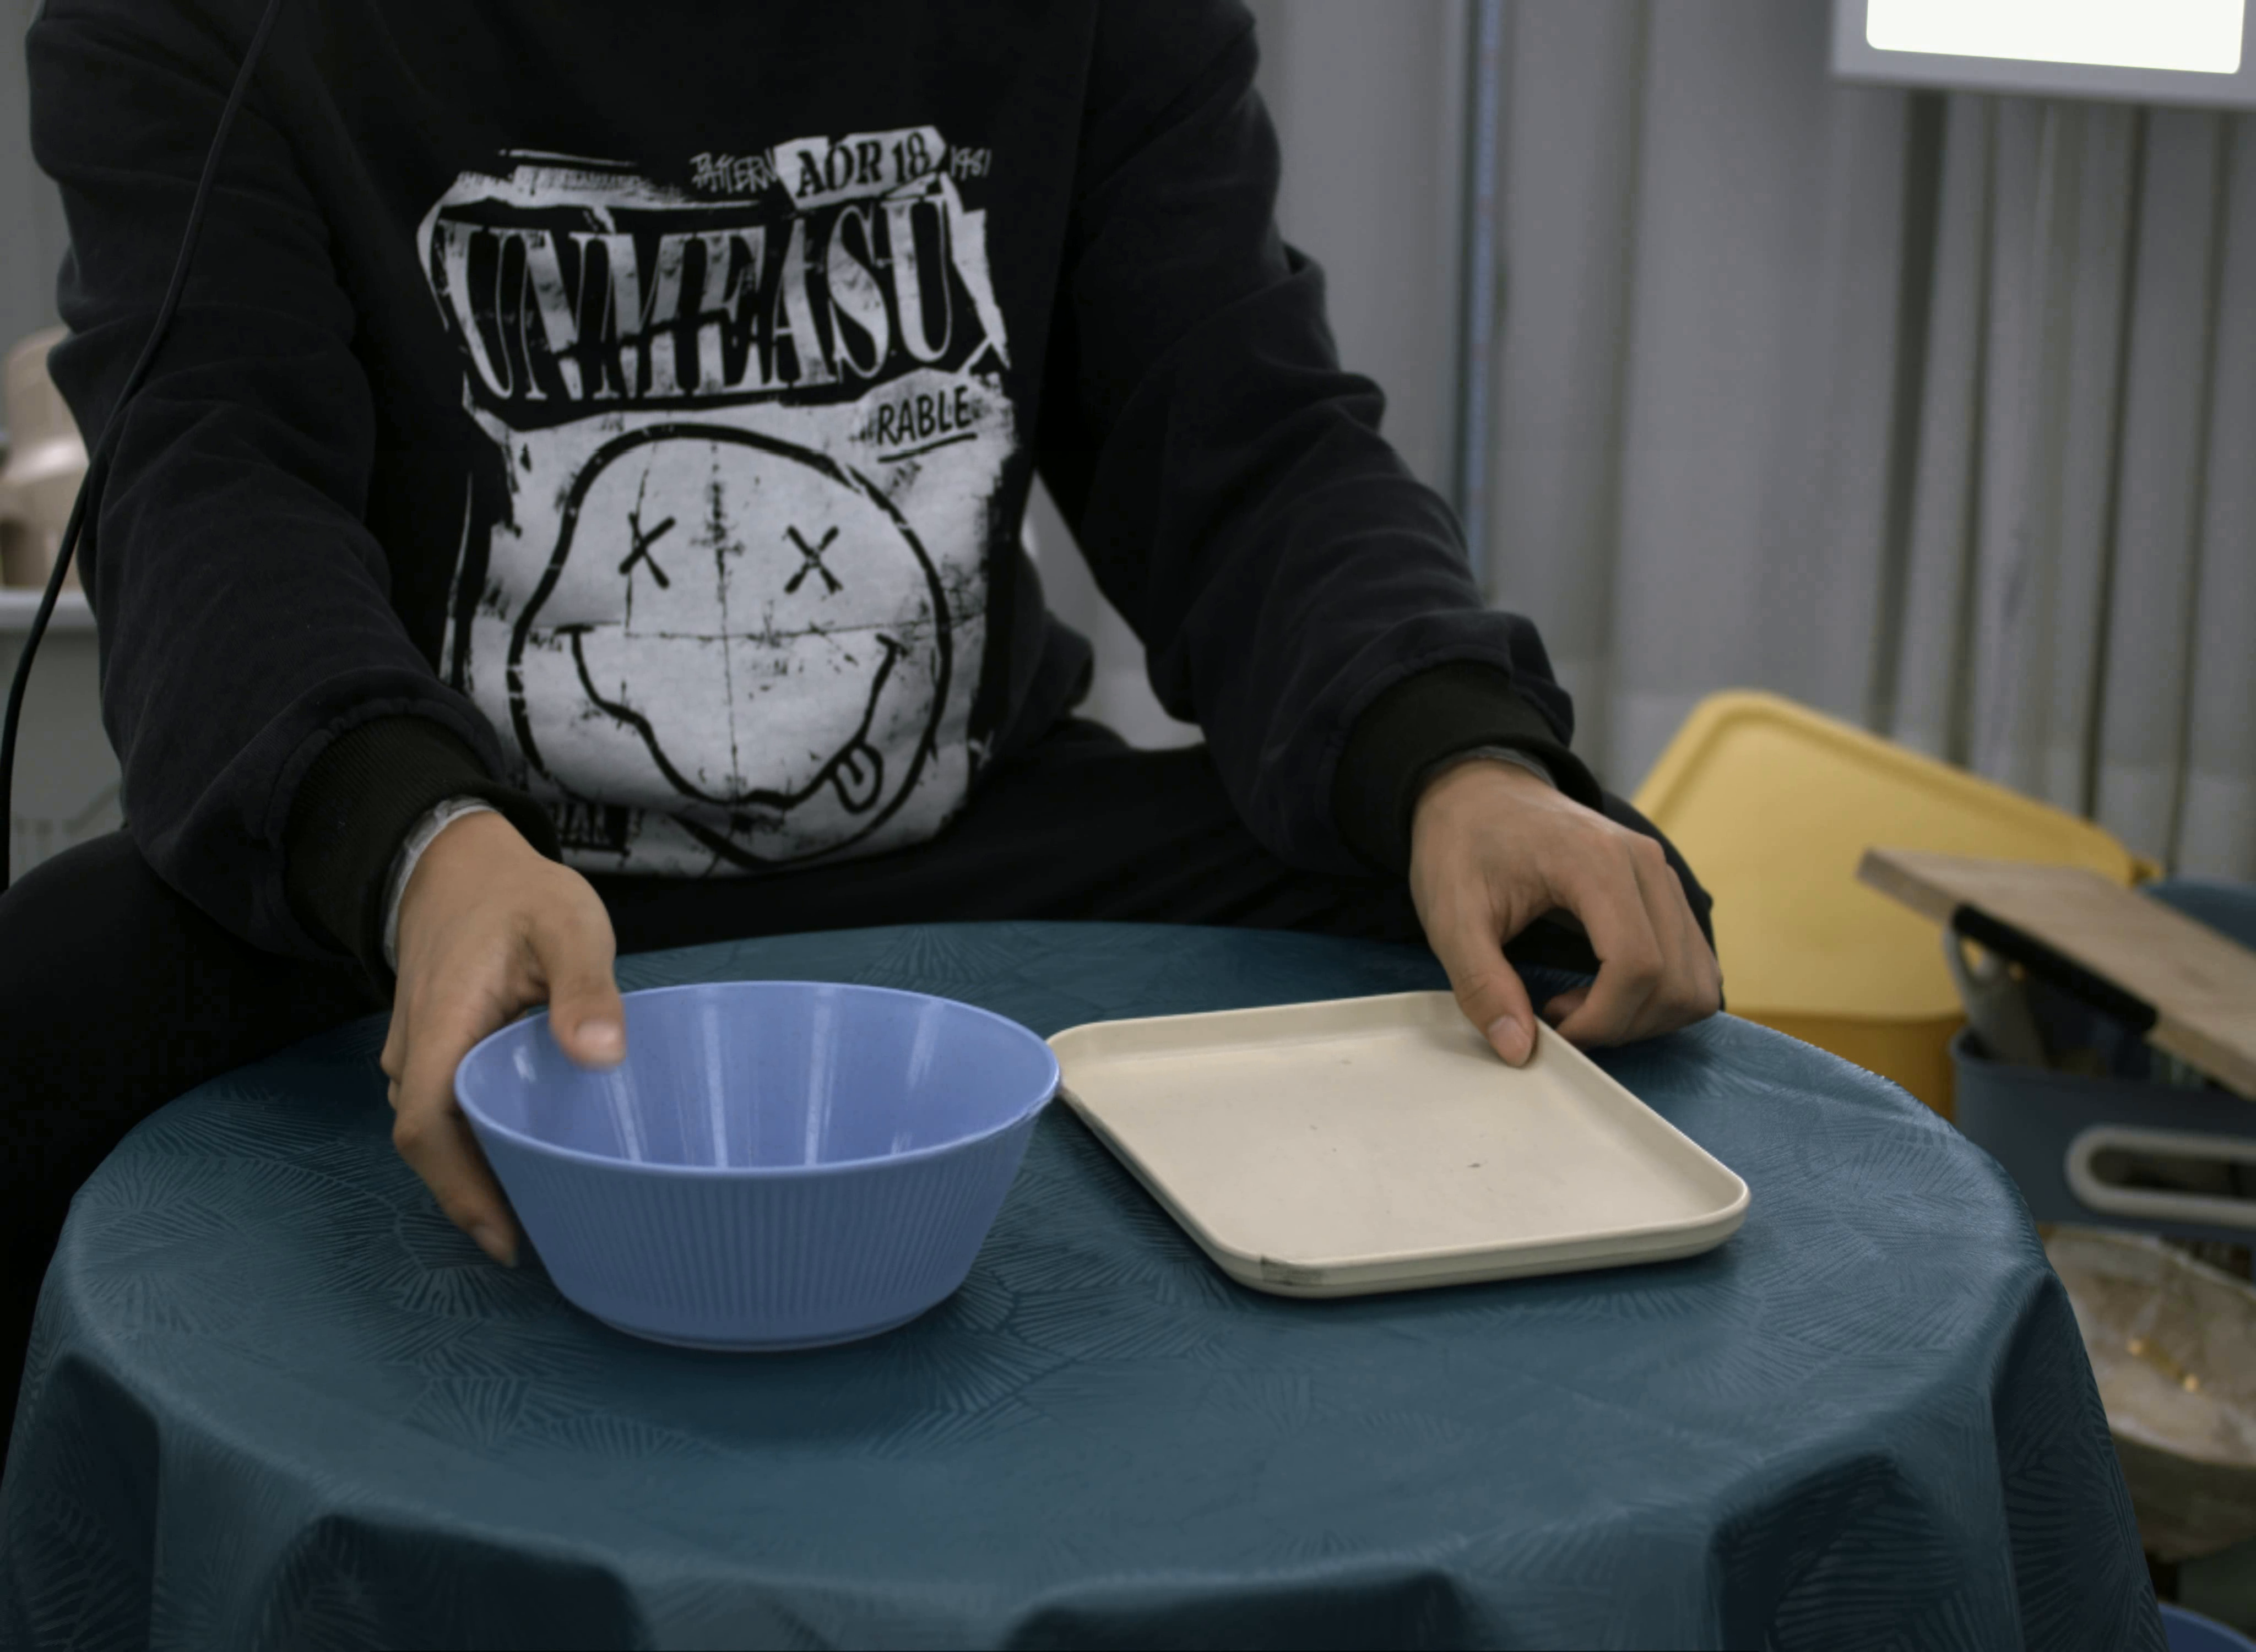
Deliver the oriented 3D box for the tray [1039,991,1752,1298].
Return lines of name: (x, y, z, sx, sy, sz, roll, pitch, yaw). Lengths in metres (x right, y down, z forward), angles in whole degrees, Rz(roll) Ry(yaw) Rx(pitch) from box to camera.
tray: (0.079, 0.098, 1.648, 0.171, 0.017, 0.237, -4, 16, -17)

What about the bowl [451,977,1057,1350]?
bowl: (-0.108, 0.101, 1.533, 0.175, 0.071, 0.175, 1, 17, 0)
